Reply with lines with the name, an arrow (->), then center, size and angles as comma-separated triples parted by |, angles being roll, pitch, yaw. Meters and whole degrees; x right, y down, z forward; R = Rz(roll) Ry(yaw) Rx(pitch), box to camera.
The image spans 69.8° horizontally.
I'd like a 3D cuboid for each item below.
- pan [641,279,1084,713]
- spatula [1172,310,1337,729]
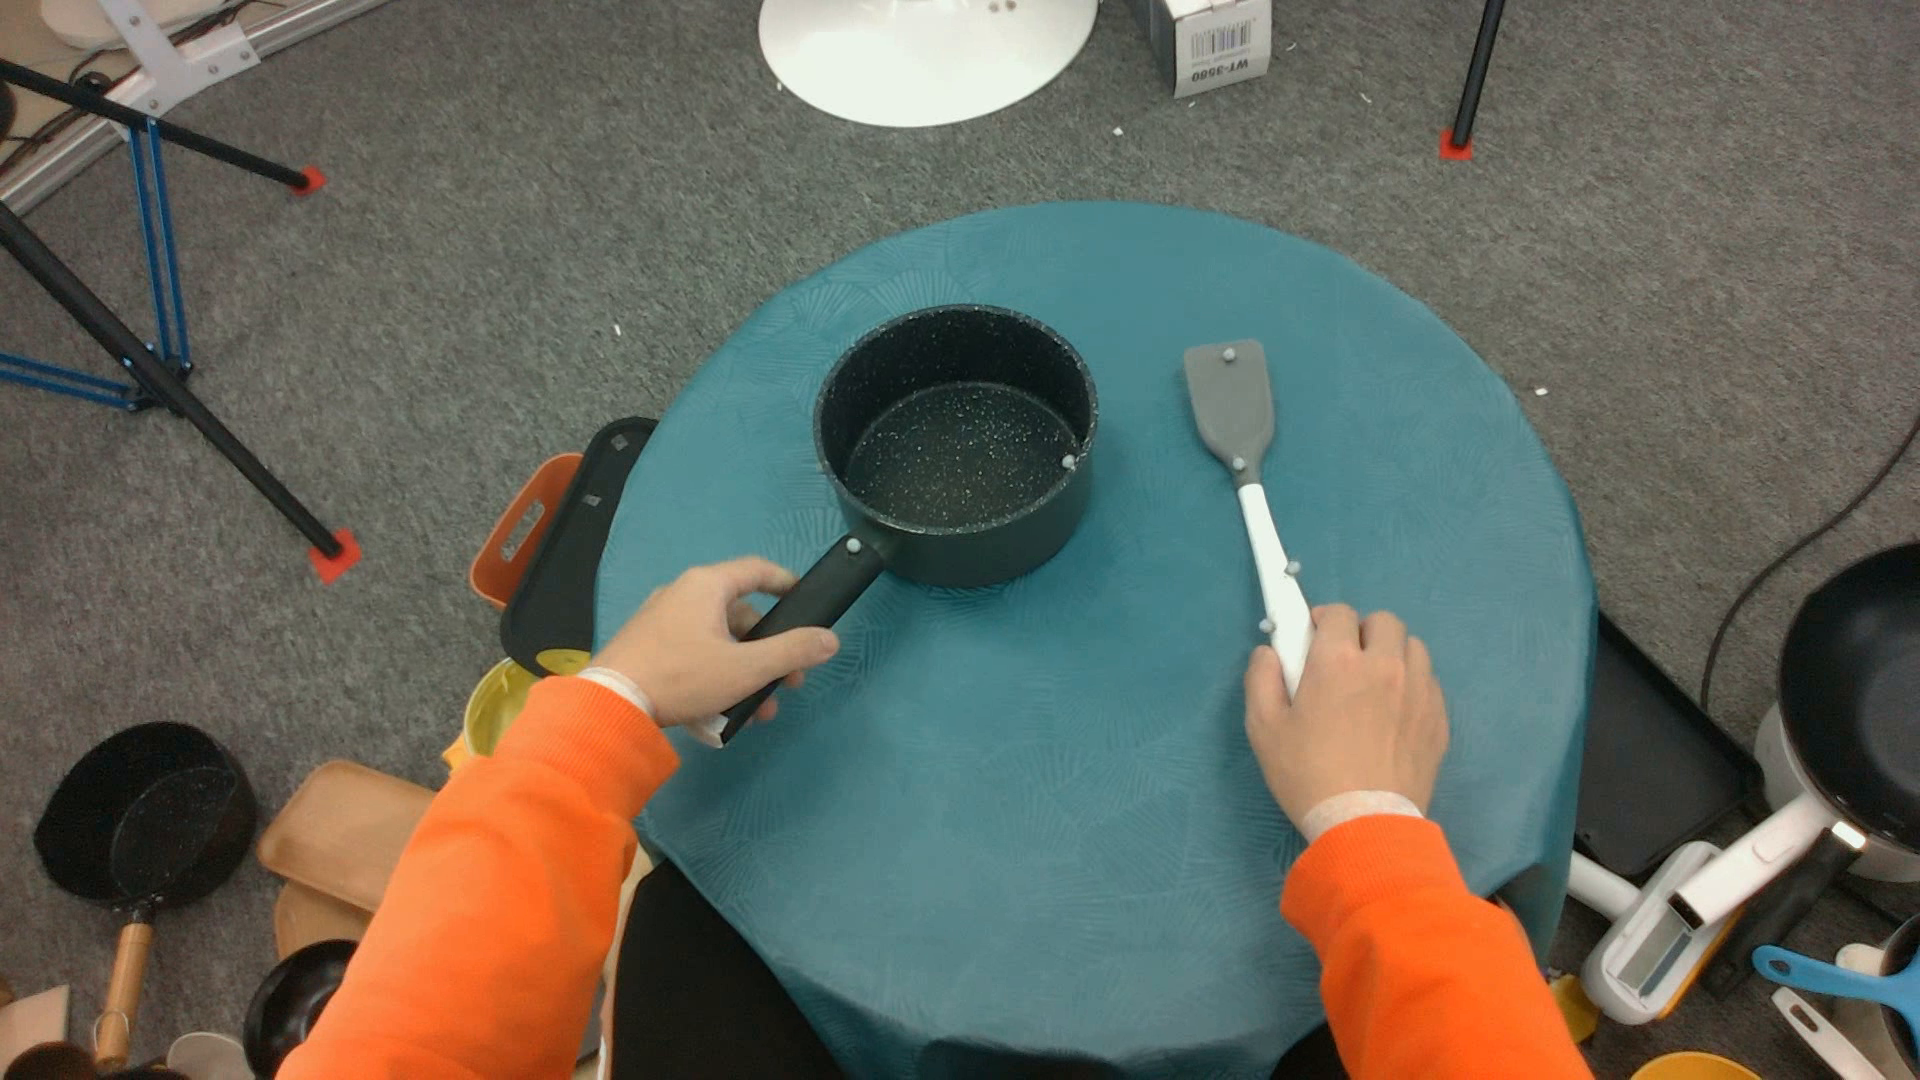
pan -> -0.056, -0.015, 0.810 | 0.172, 0.086, 0.330 | 30, 64, 22
spatula -> 0.176, -0.024, 0.825 | 0.058, 0.032, 0.289 | -6, 57, 1
